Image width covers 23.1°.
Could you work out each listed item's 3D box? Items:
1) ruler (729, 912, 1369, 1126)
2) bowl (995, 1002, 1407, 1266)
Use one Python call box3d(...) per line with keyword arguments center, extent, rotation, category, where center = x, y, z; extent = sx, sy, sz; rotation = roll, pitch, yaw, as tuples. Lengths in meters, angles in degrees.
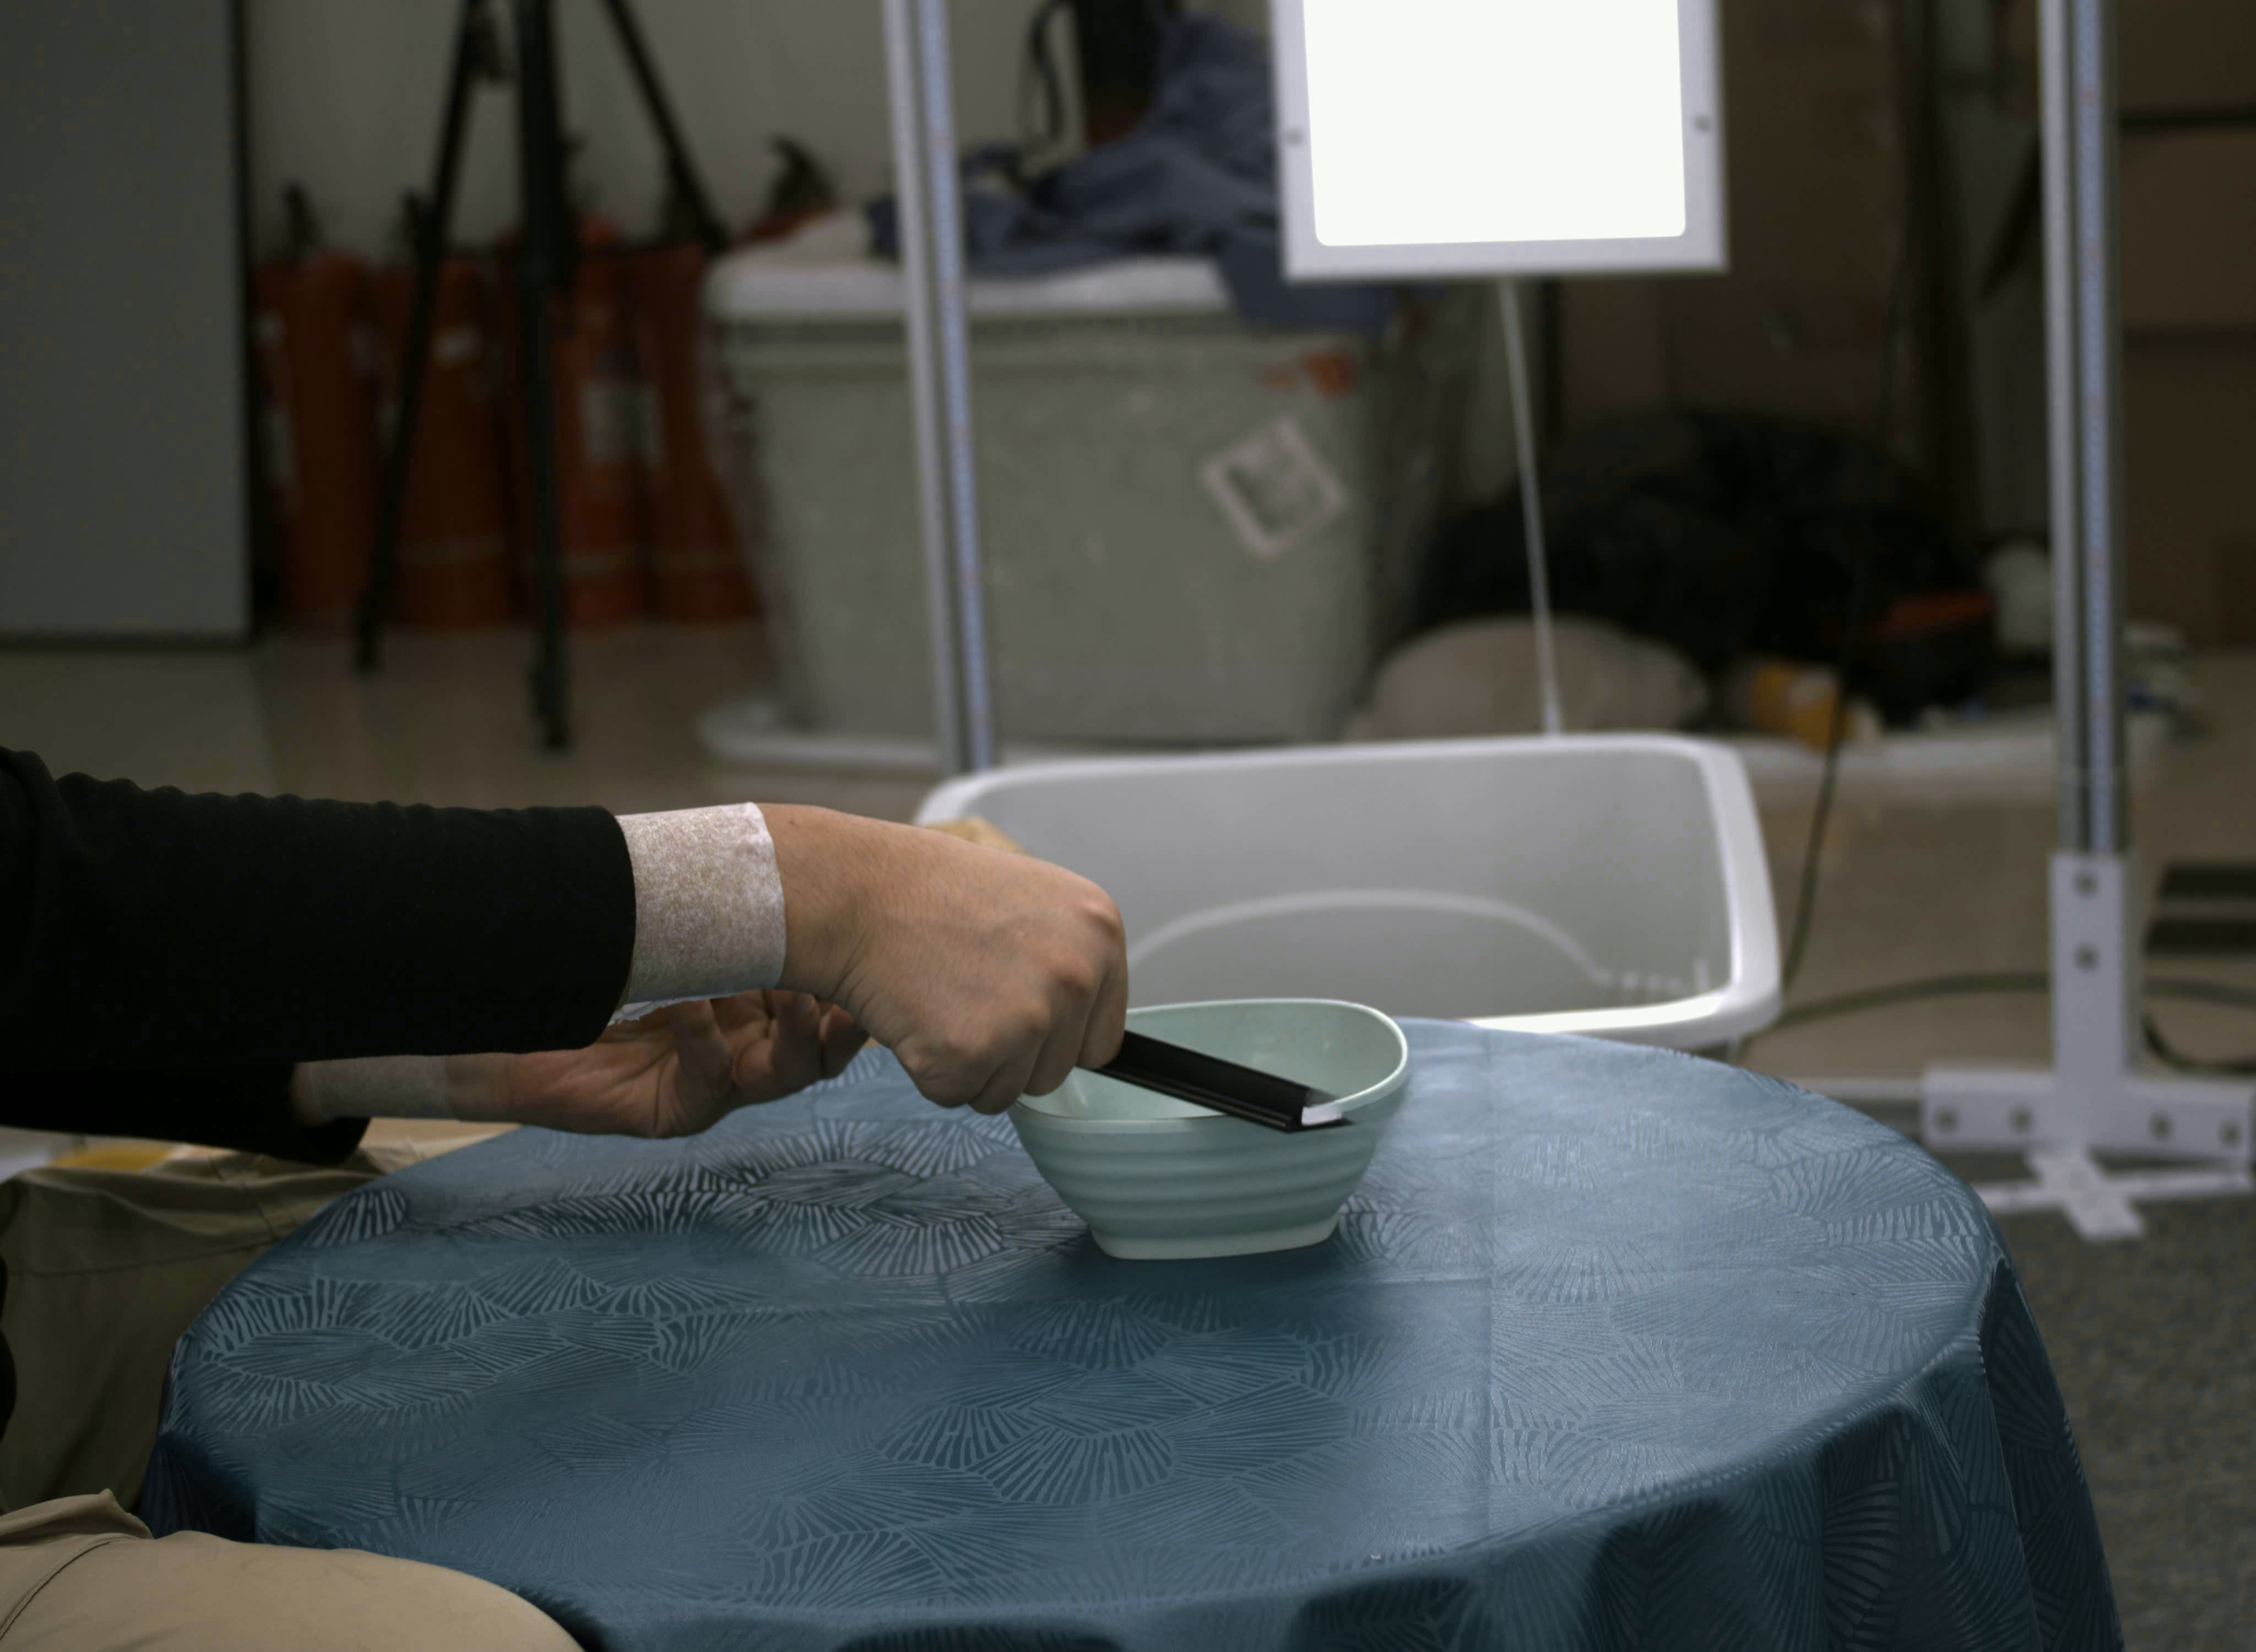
box3d(center=(-0.031, 0.062, 1.866), extent=(0.038, 0.017, 0.319), rotation=(1, 9, -39), category="ruler")
box3d(center=(0.026, 0.107, 1.855), extent=(0.151, 0.059, 0.151), rotation=(-4, 15, 0), category="bowl")
